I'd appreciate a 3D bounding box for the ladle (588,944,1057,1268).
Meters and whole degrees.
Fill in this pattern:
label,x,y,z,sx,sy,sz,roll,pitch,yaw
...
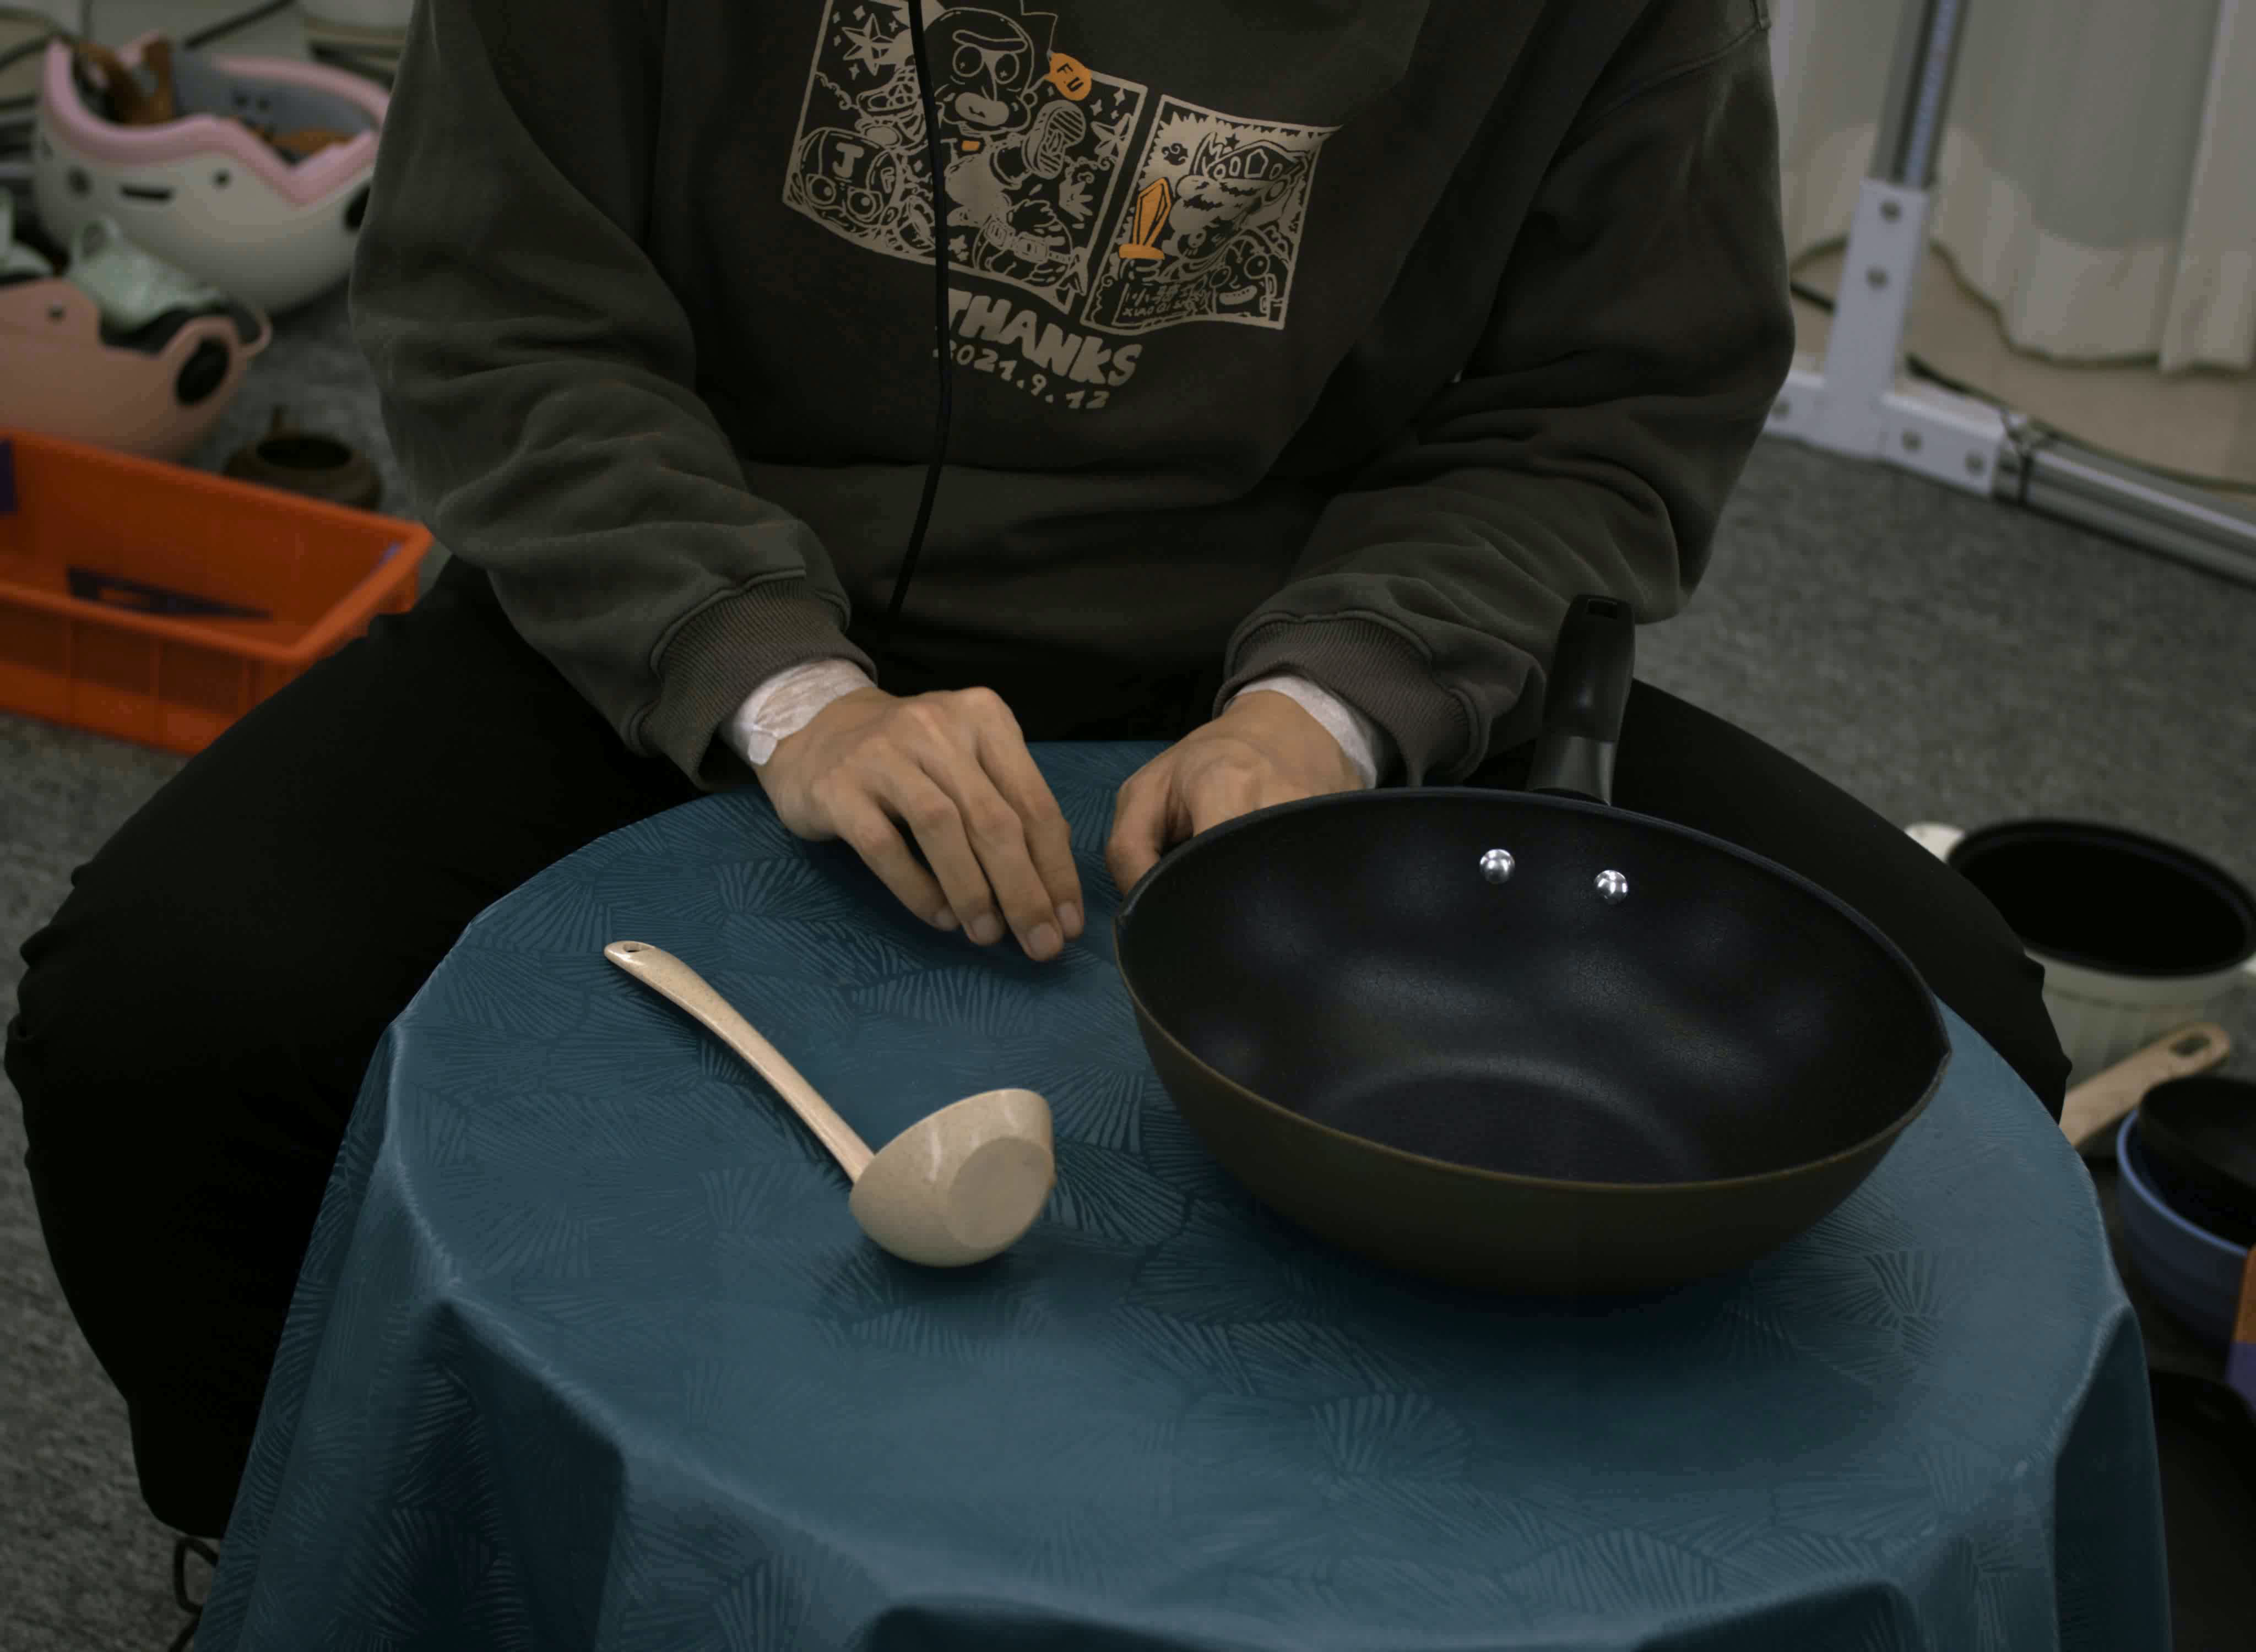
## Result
label,x,y,z,sx,sy,sz,roll,pitch,yaw
ladle,-0.115,0.068,1.808,0.072,0.072,0.257,-18,36,-31

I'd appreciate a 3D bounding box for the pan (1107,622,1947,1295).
label,x,y,z,sx,sy,sz,roll,pitch,yaw
pan,0.145,0.046,1.899,0.288,0.086,0.465,9,25,6
